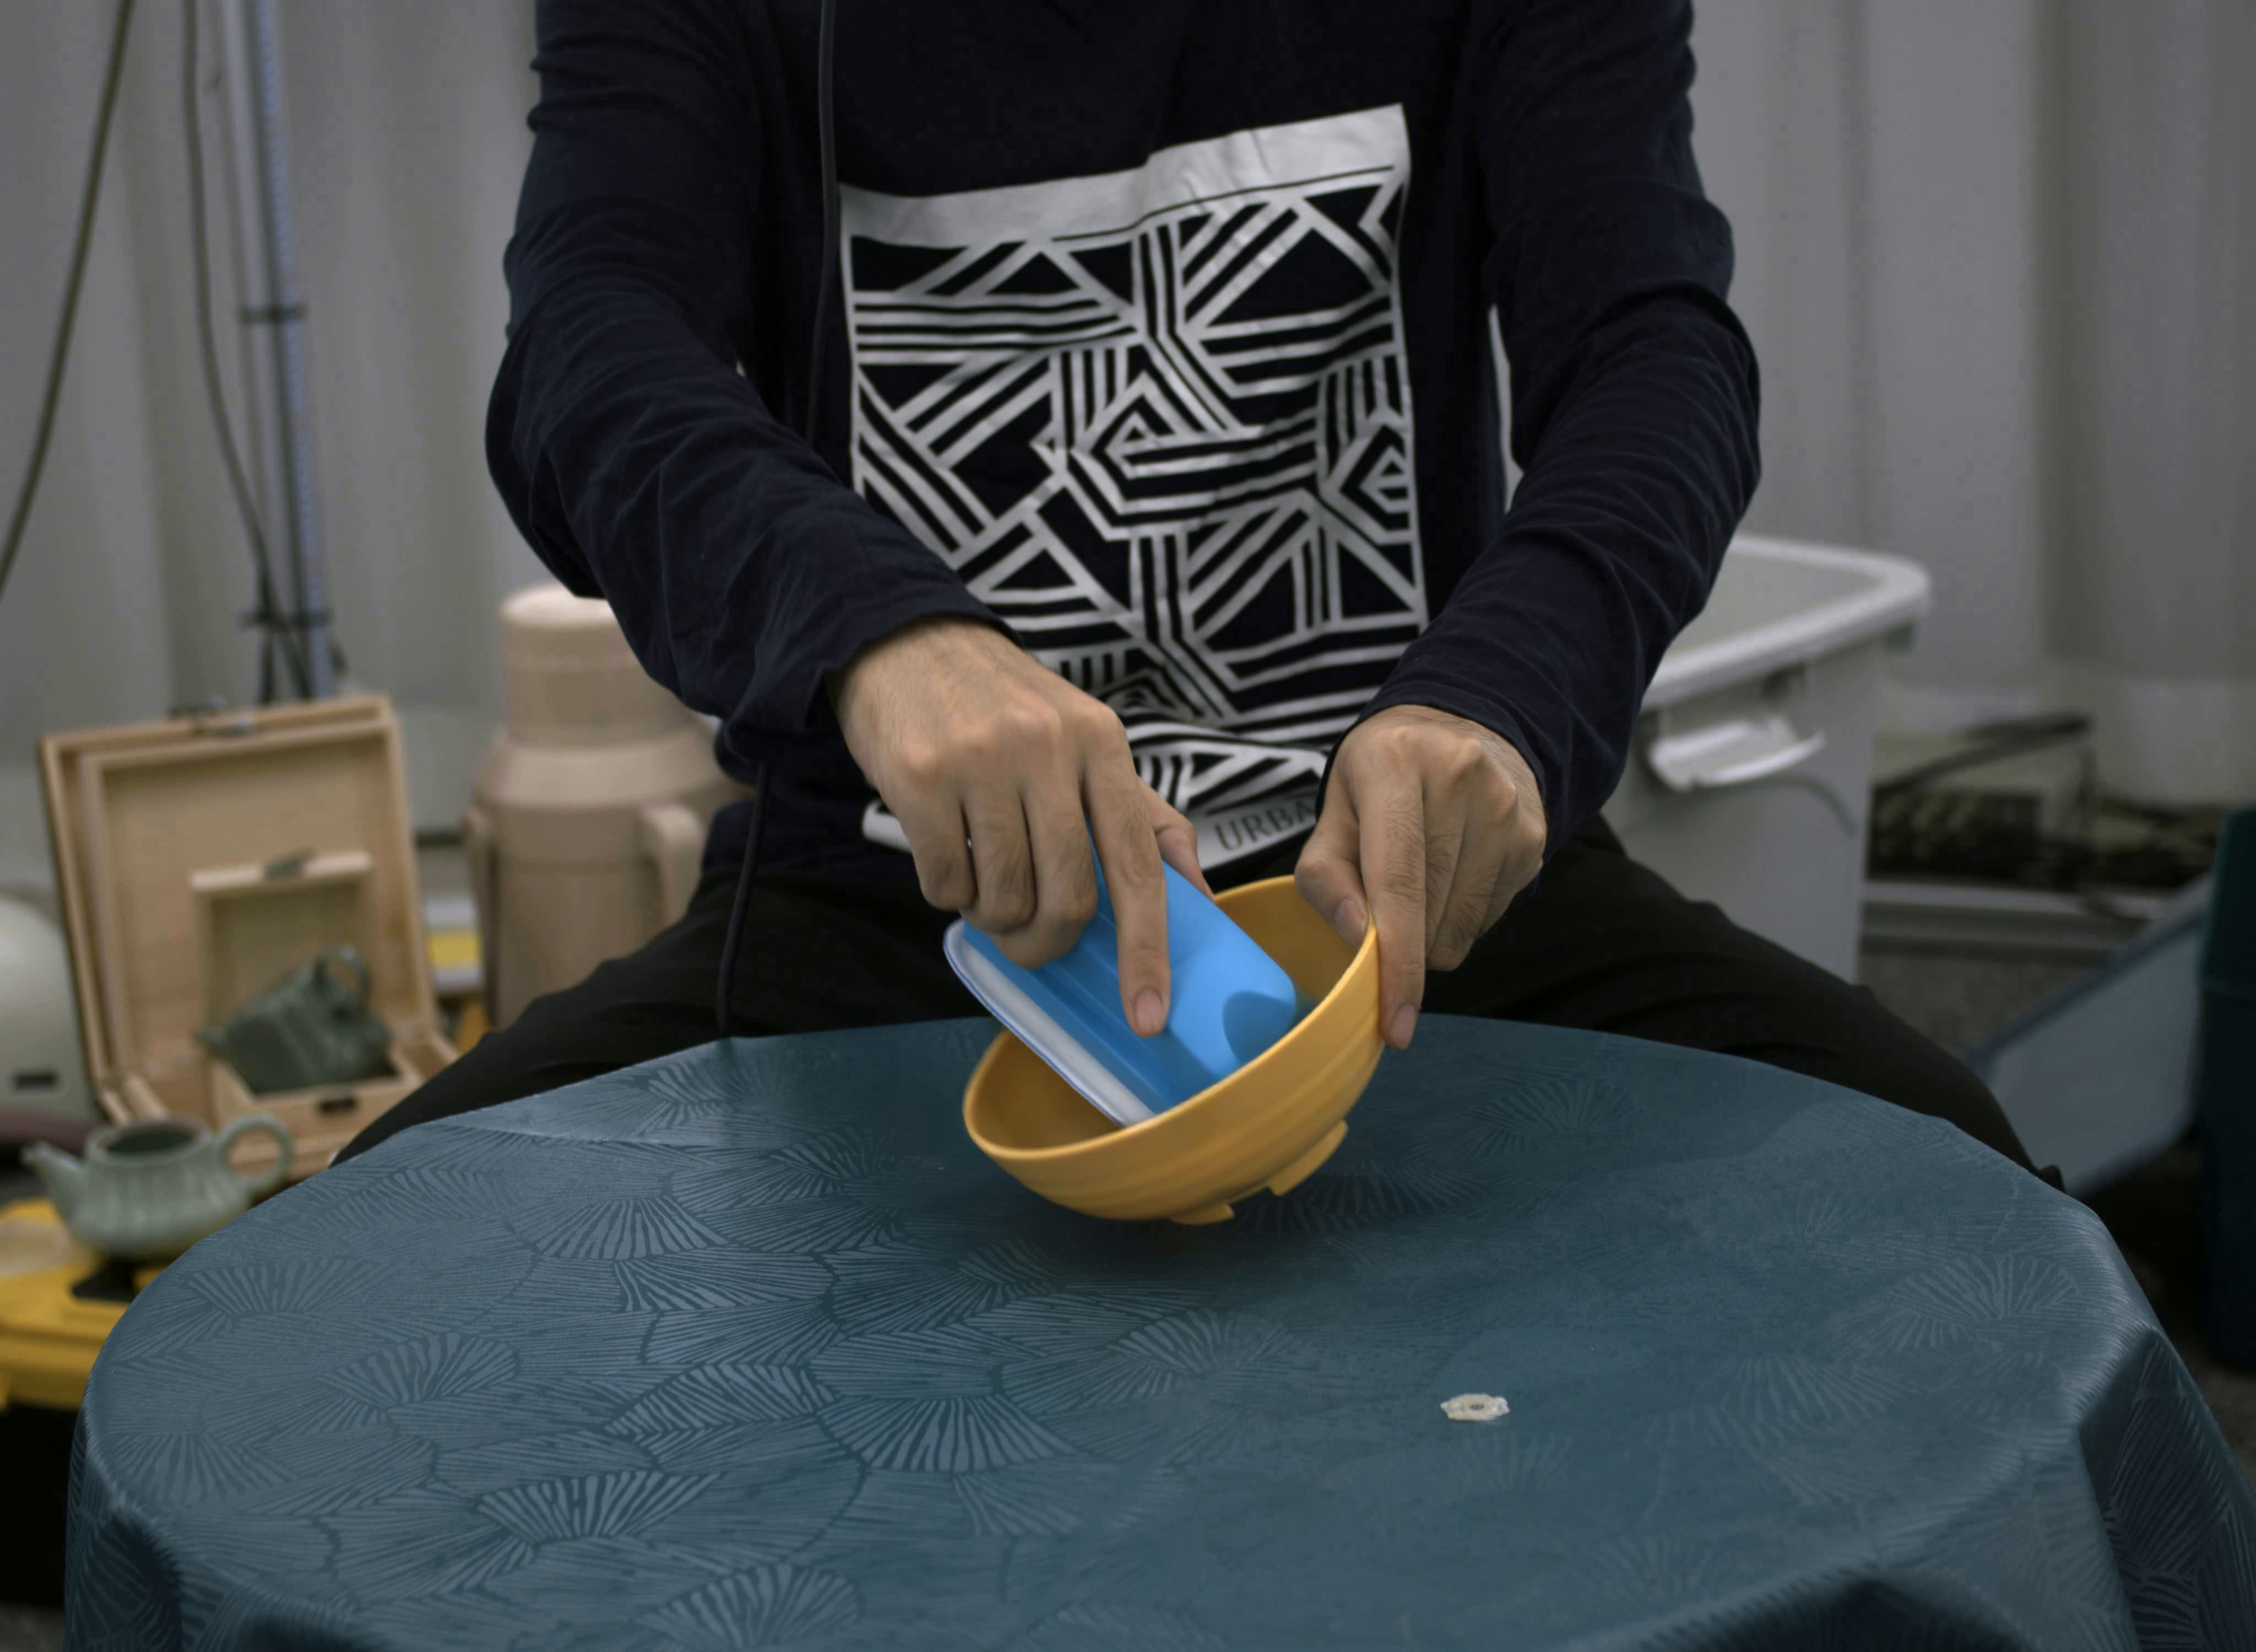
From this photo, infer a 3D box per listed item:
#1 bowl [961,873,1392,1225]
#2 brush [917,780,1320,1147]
[{"bbox_3d":[0.025,0.079,1.683,0.145,0.059,0.147,-23,22,9],"label":"bowl"},{"bbox_3d":[0.003,0.037,1.676,0.084,0.055,0.146,-23,50,-29],"label":"brush"}]
